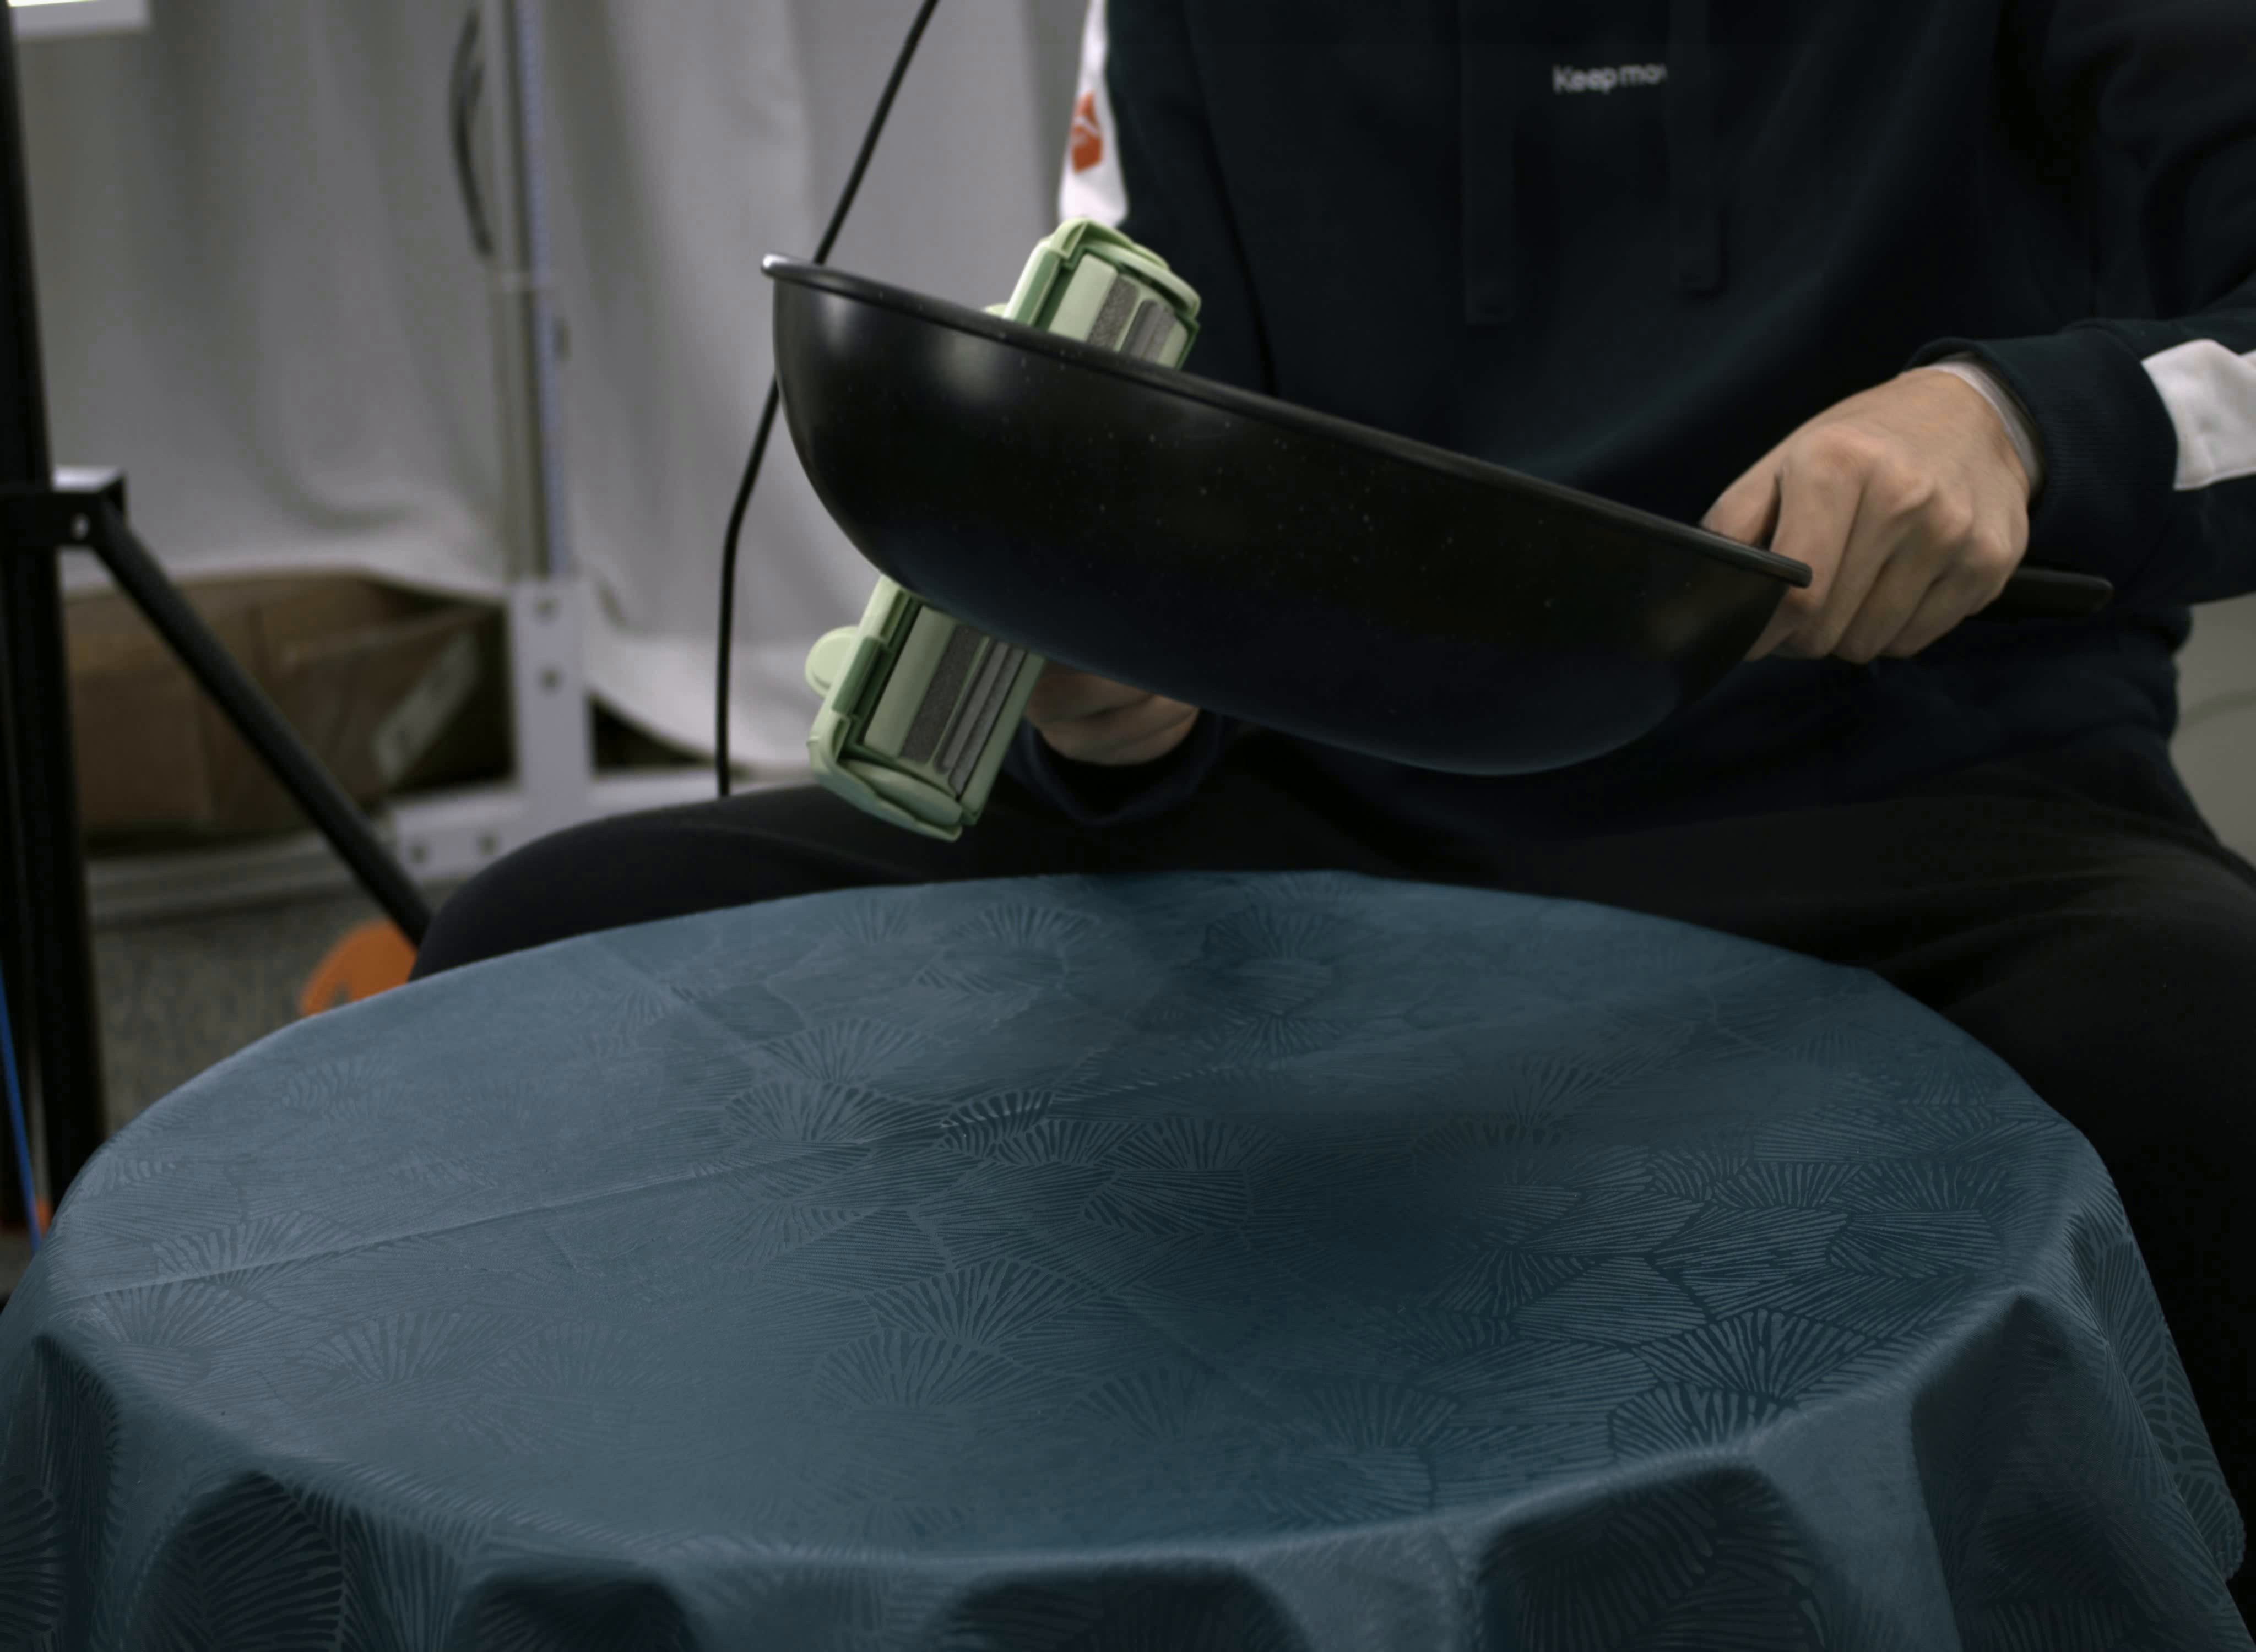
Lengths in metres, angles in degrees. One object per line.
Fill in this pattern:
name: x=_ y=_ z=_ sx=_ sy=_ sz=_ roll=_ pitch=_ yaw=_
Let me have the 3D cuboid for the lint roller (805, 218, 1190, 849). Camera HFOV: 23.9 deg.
lint roller: x=-0.034 y=-0.079 z=1.735 sx=0.083 sy=0.199 sz=0.180 roll=20 pitch=-10 yaw=18

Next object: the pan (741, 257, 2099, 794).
pan: x=0.098 y=-0.069 z=1.538 sx=0.464 sy=0.112 sz=0.317 roll=13 pitch=7 yaw=-34
